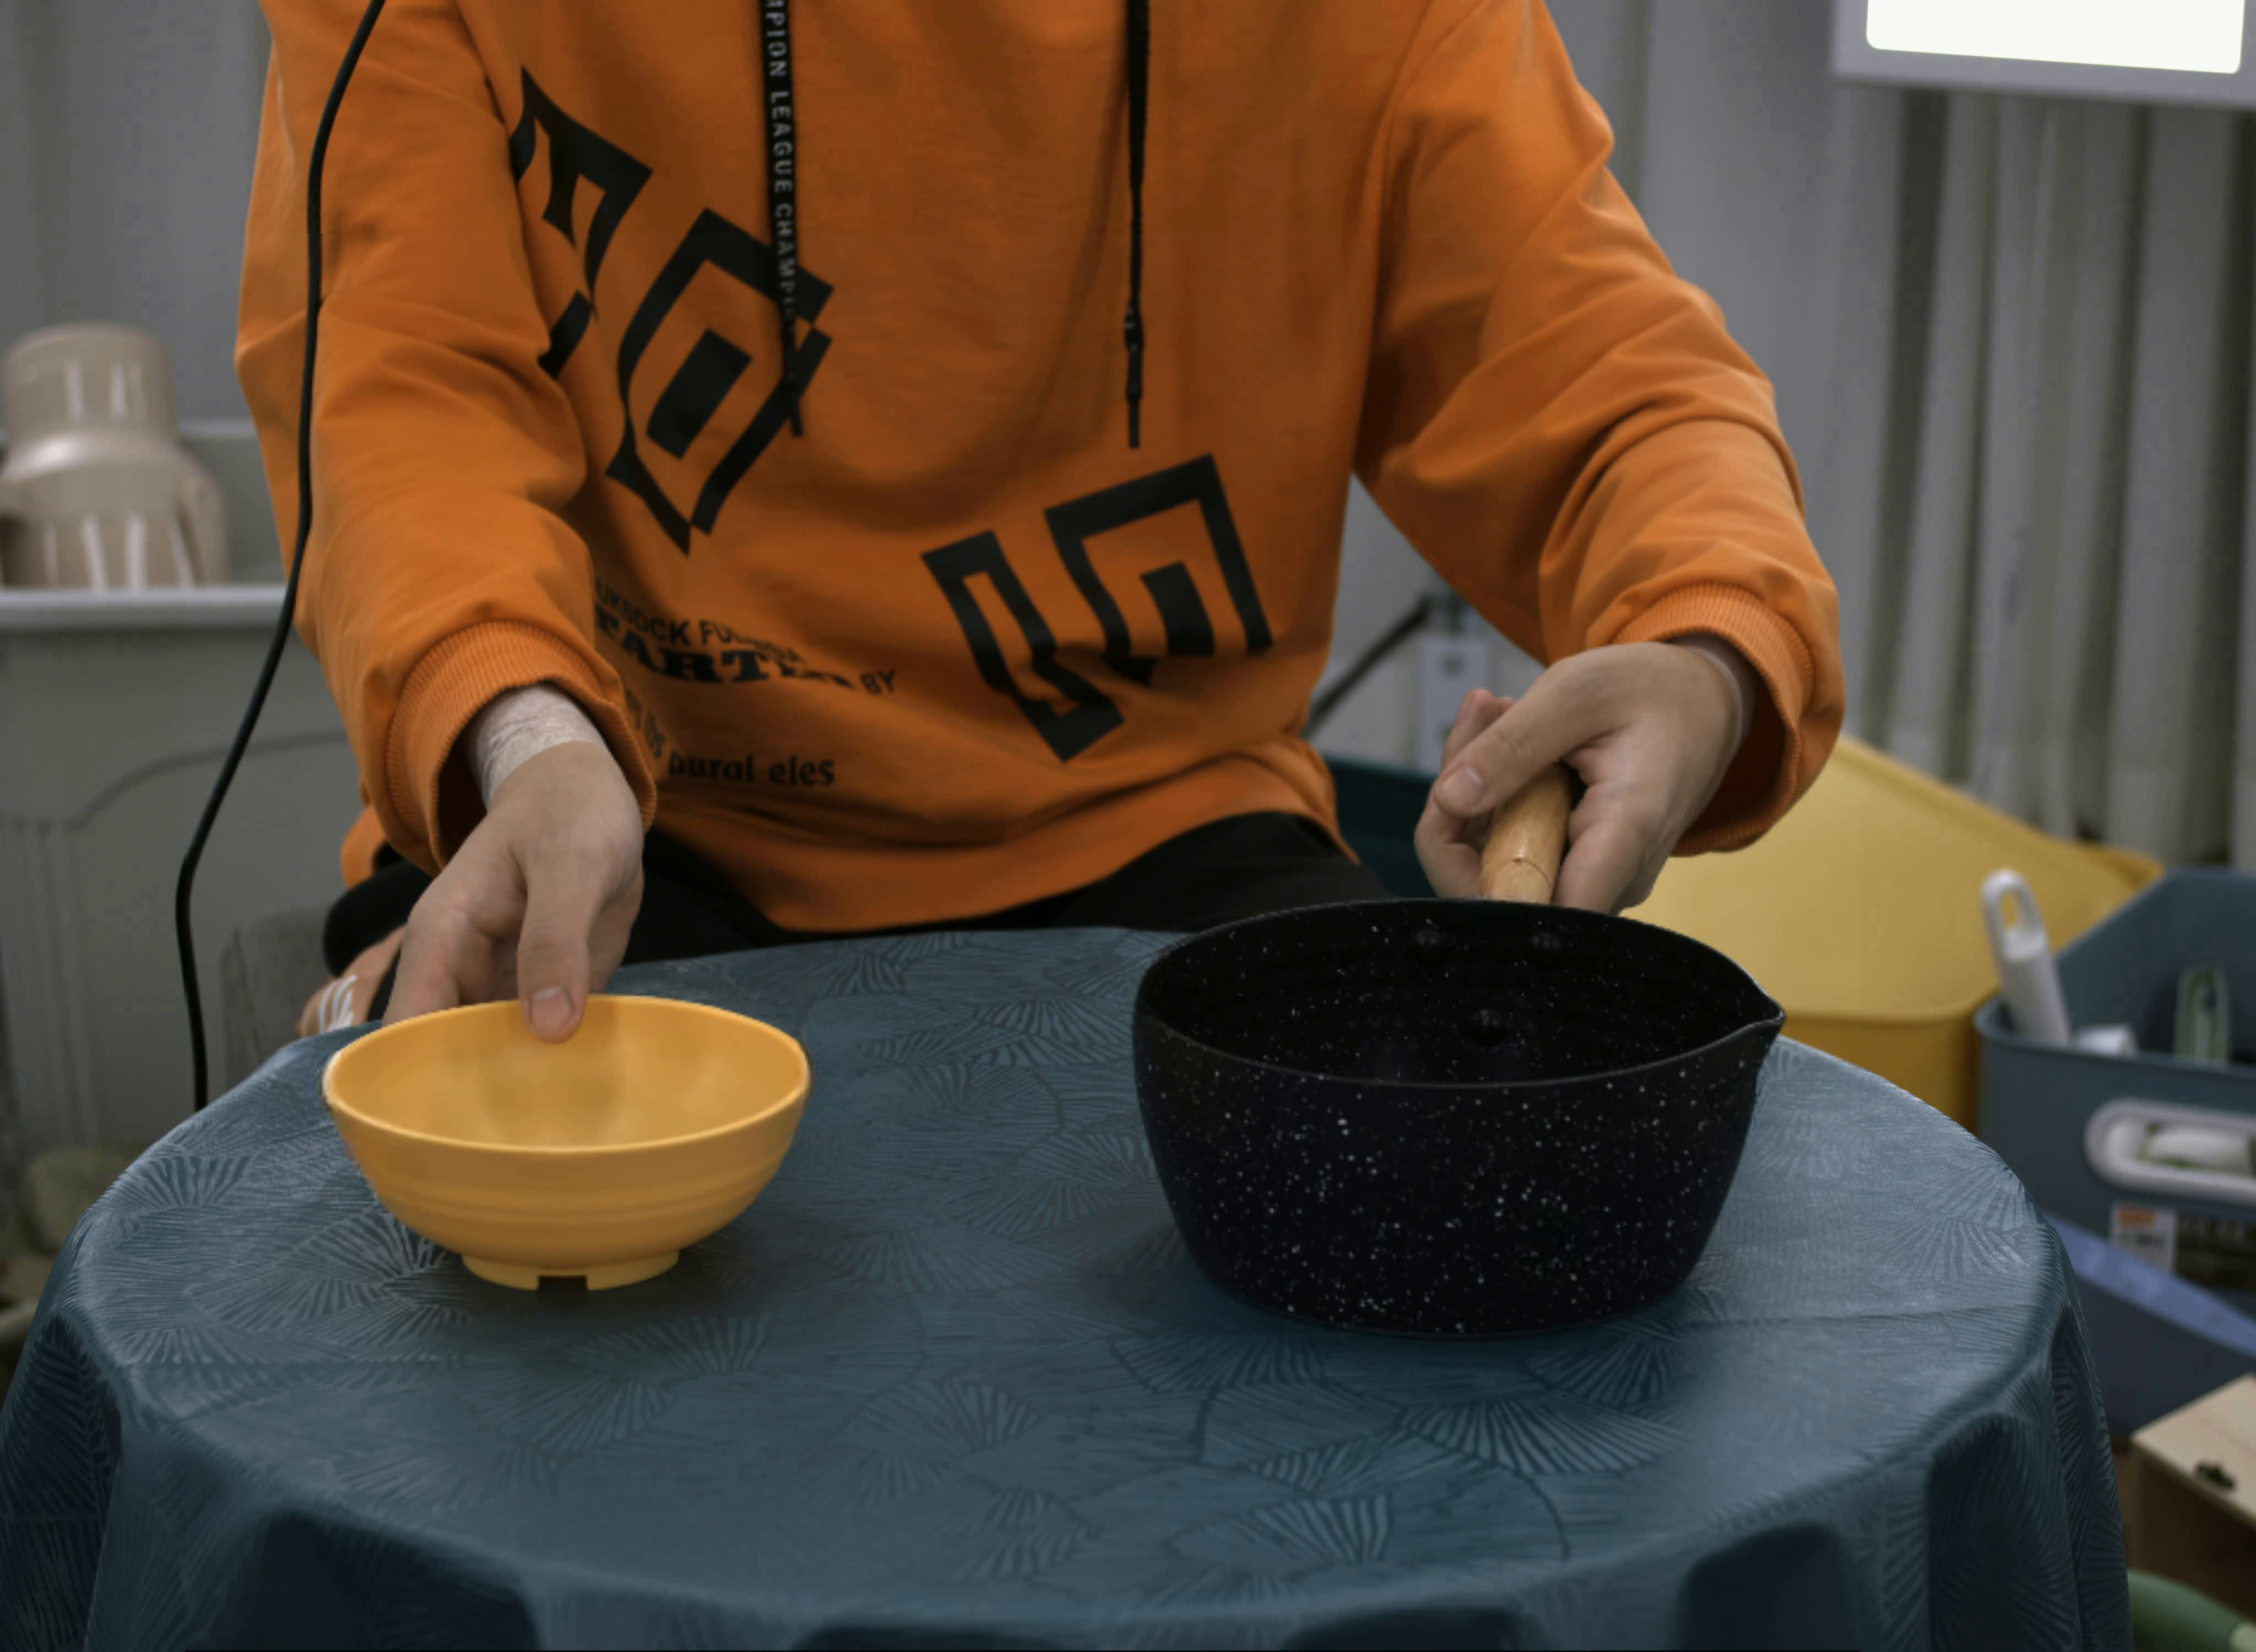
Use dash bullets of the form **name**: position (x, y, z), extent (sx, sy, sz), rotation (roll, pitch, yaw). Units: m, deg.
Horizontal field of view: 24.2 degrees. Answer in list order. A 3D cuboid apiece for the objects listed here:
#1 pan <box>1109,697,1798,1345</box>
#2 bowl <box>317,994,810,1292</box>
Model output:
- **pan**: position (0.109, 0.055, 1.631), extent (0.206, 0.109, 0.342), rotation (2, 17, 11)
- **bowl**: position (-0.166, 0.099, 1.557), extent (0.145, 0.060, 0.144), rotation (2, 15, 0)
